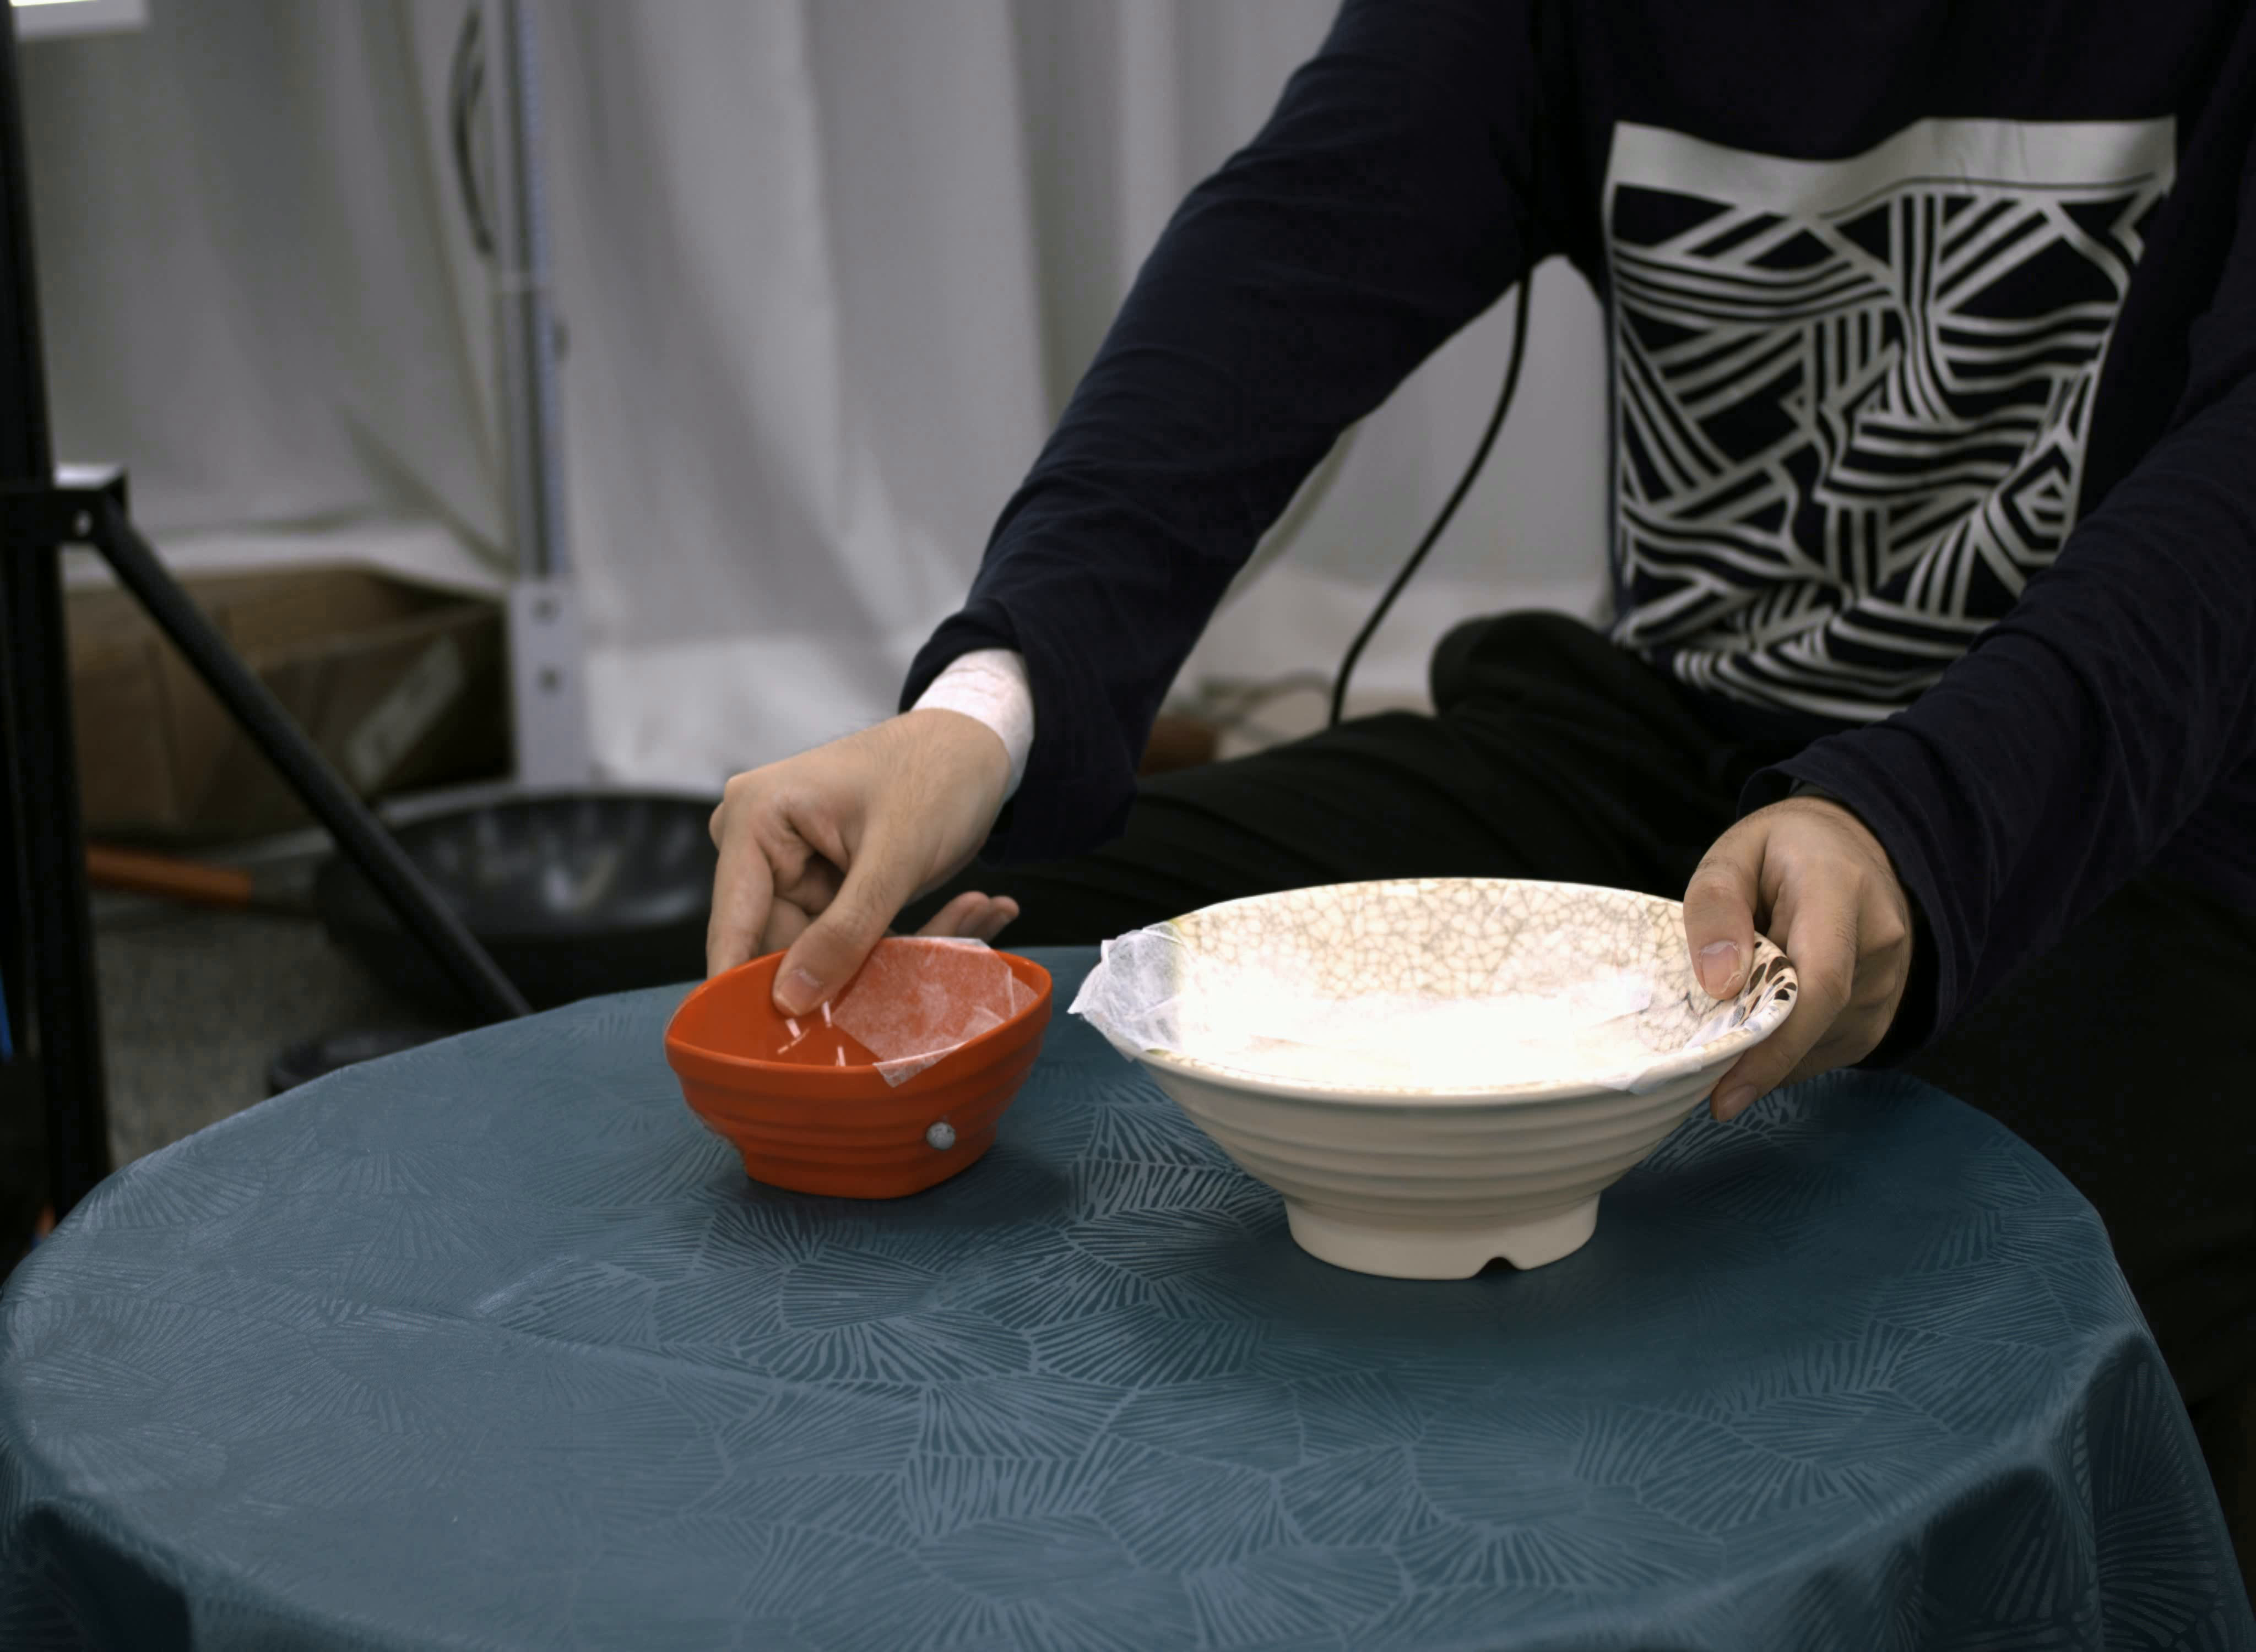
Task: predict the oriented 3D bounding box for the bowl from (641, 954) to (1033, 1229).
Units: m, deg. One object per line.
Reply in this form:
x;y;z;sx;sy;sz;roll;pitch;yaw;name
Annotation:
-0.087;0.083;1.601;0.118;0.051;0.119;0;20;-1;bowl

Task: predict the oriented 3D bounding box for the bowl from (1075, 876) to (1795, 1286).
0.087;0.080;1.510;0.203;0.078;0.205;-2;16;-1;bowl
